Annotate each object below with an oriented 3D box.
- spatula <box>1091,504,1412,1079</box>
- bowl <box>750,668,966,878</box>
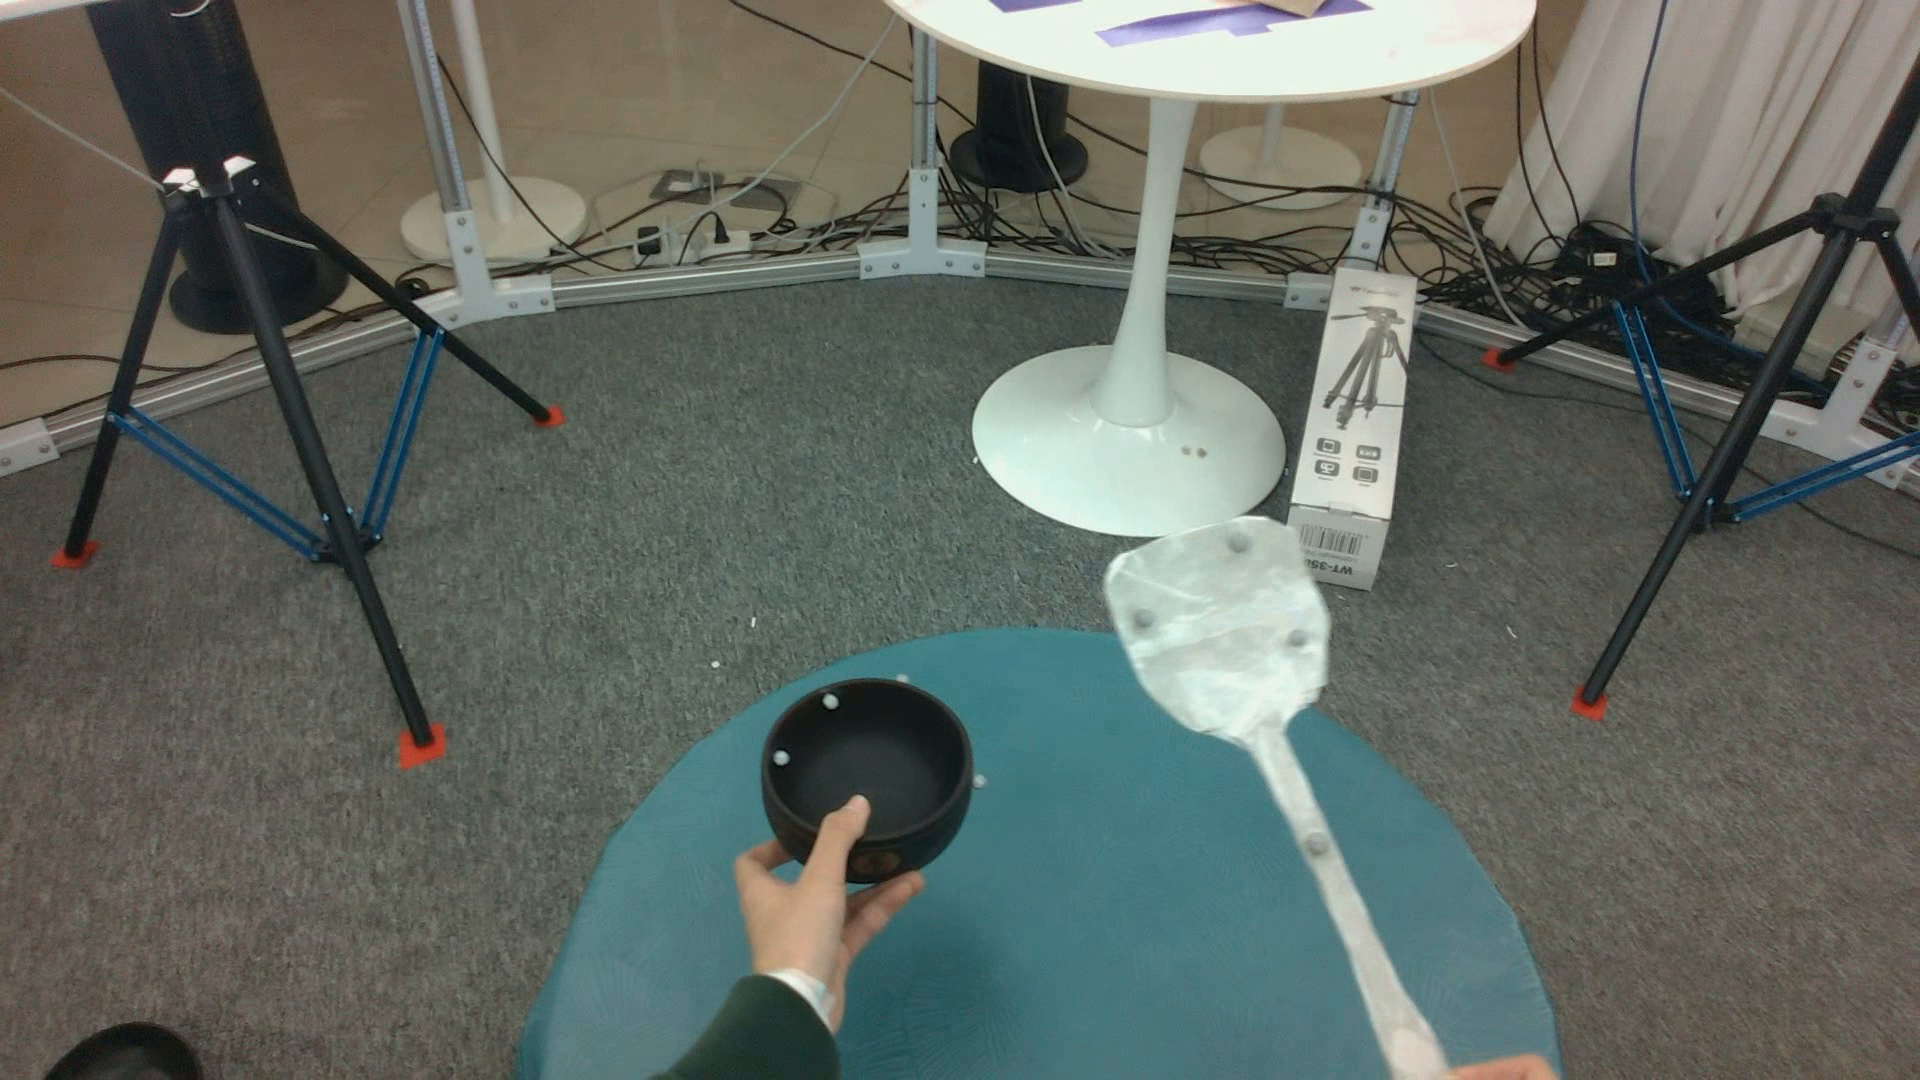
[{"bbox_3d":[0.147,0.142,0.579,0.099,0.044,0.366,-13,55,-4],"label":"spatula"},{"bbox_3d":[-0.056,0.136,0.767,0.118,0.069,0.118,1,44,-1],"label":"bowl"}]
